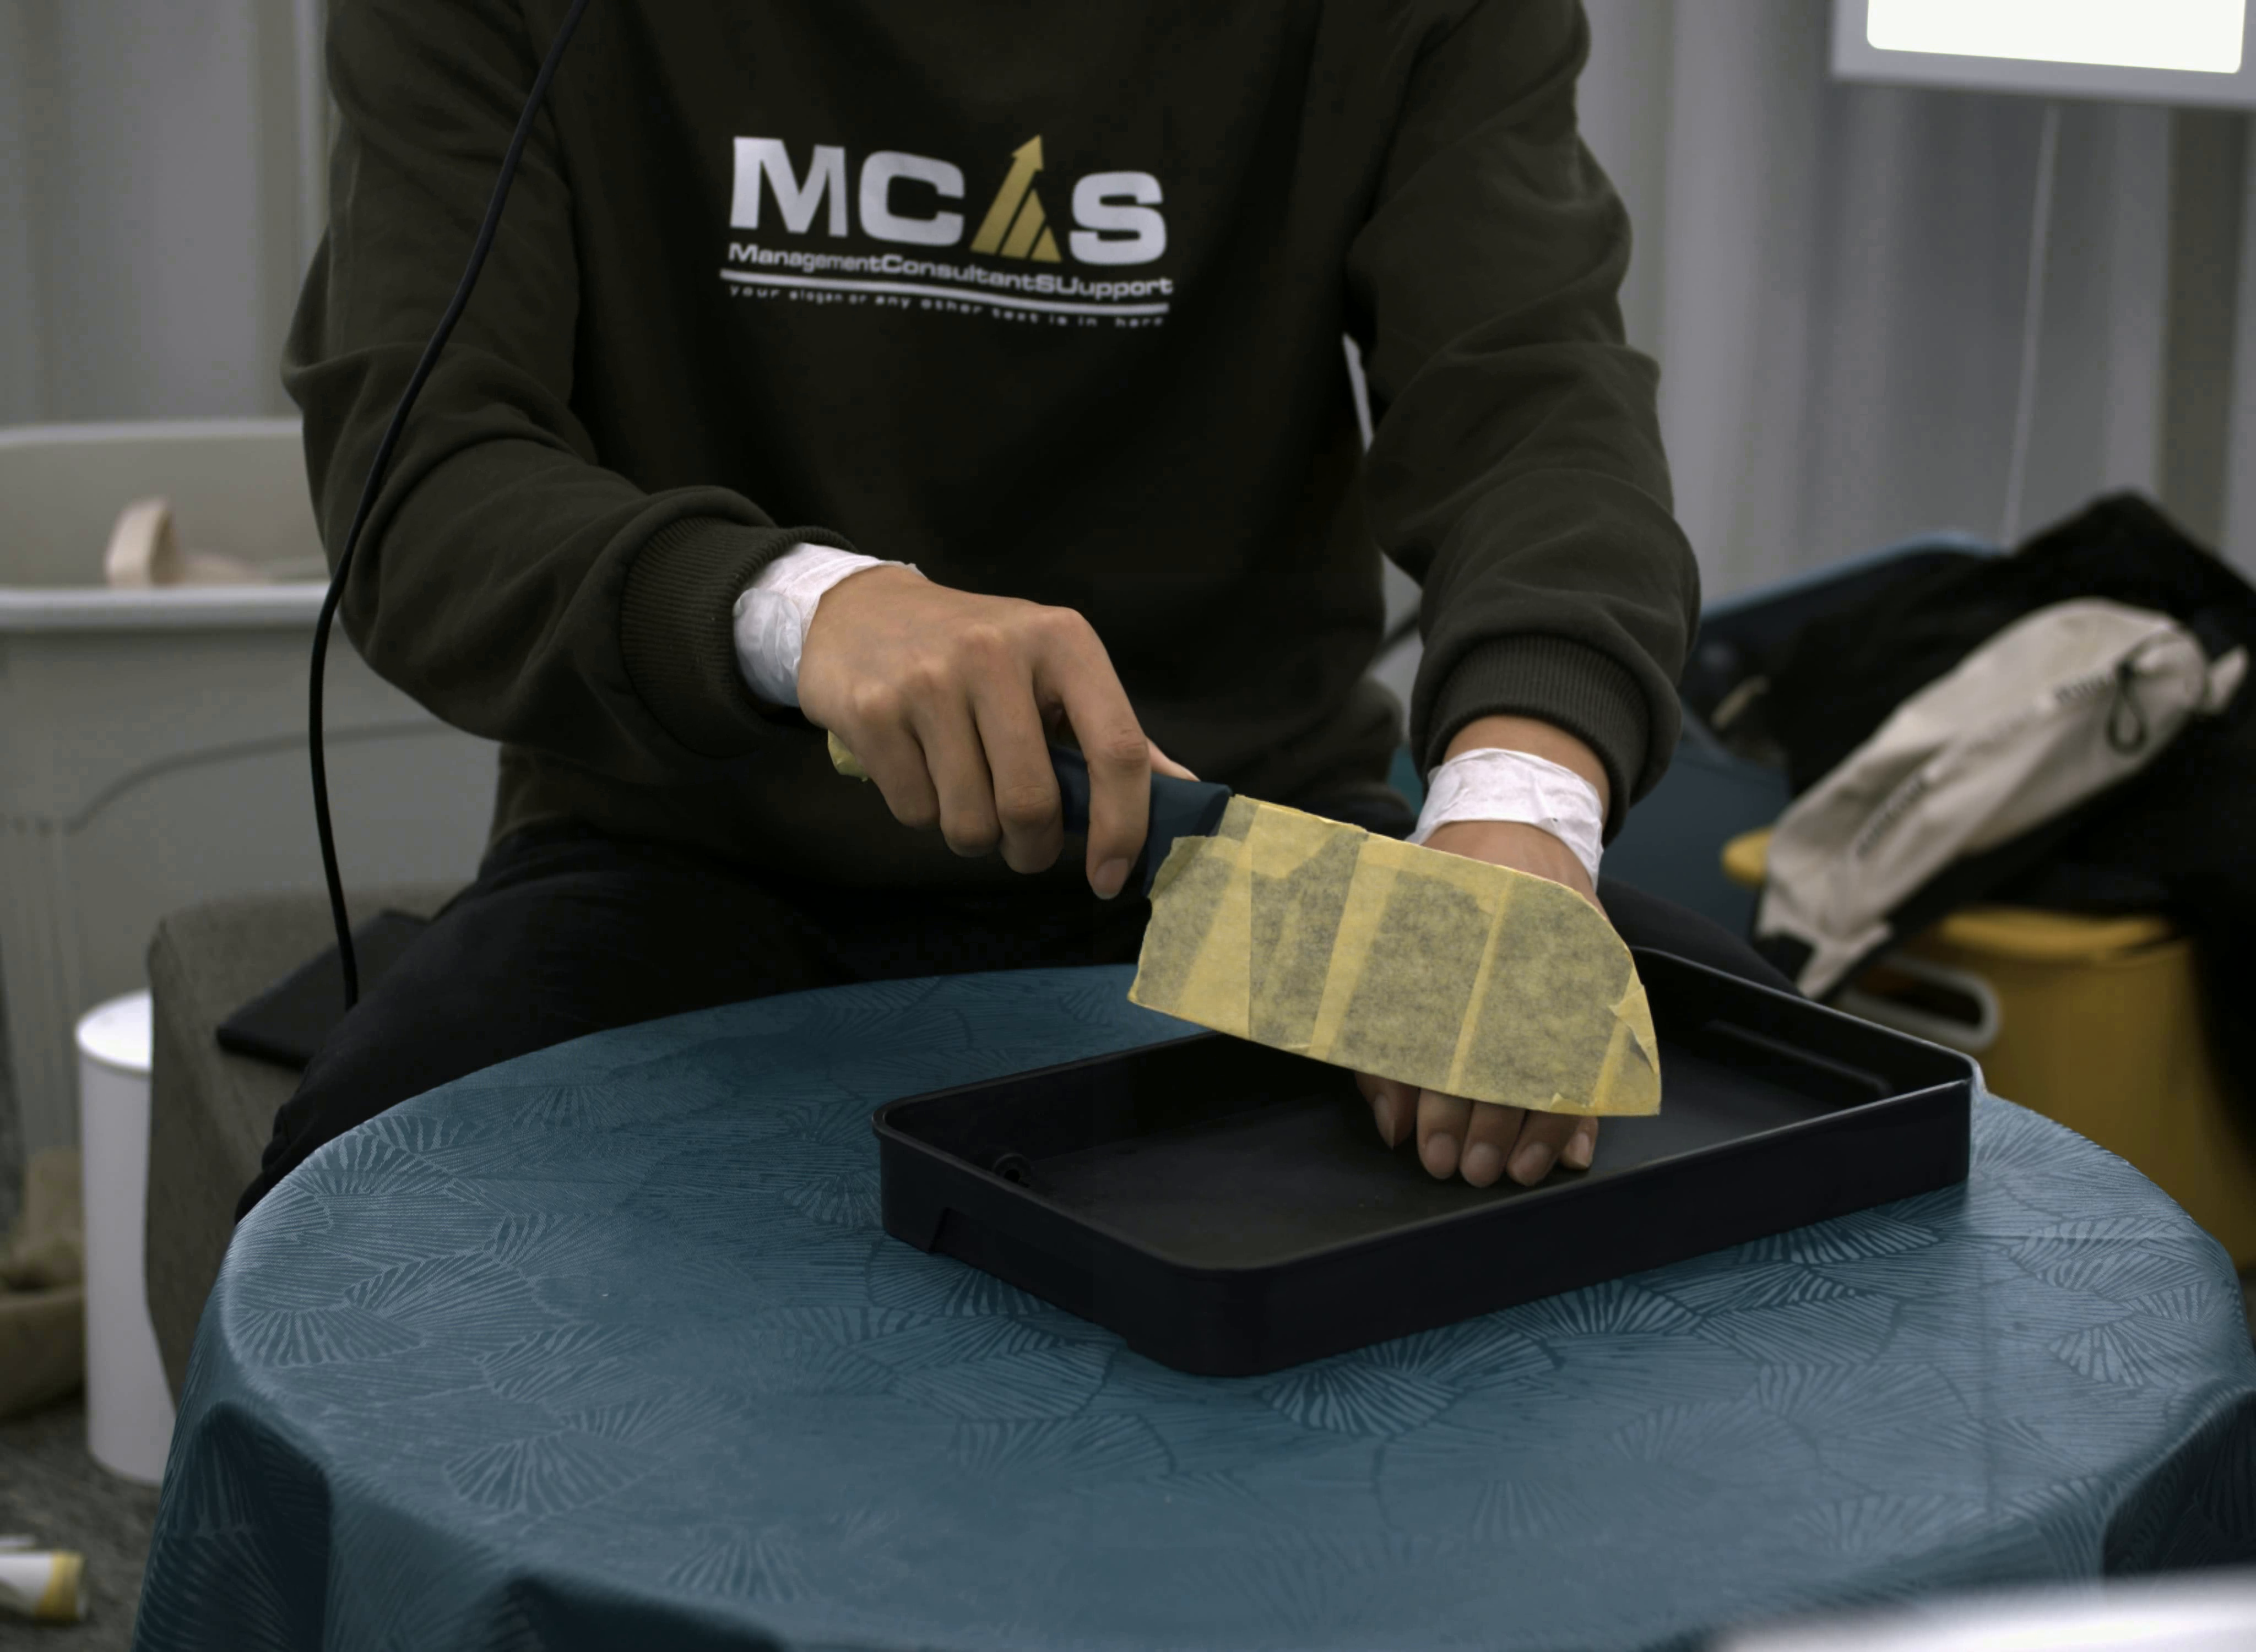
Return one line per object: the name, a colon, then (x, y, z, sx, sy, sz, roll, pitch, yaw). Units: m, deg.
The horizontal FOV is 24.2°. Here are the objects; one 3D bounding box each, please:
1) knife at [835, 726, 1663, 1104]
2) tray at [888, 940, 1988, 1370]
knife: (0.033, 0.026, 1.638, 0.286, 0.081, 0.027, 18, -4, 19)
tray: (0.098, 0.095, 1.620, 0.319, 0.037, 0.182, -11, 19, -38)
